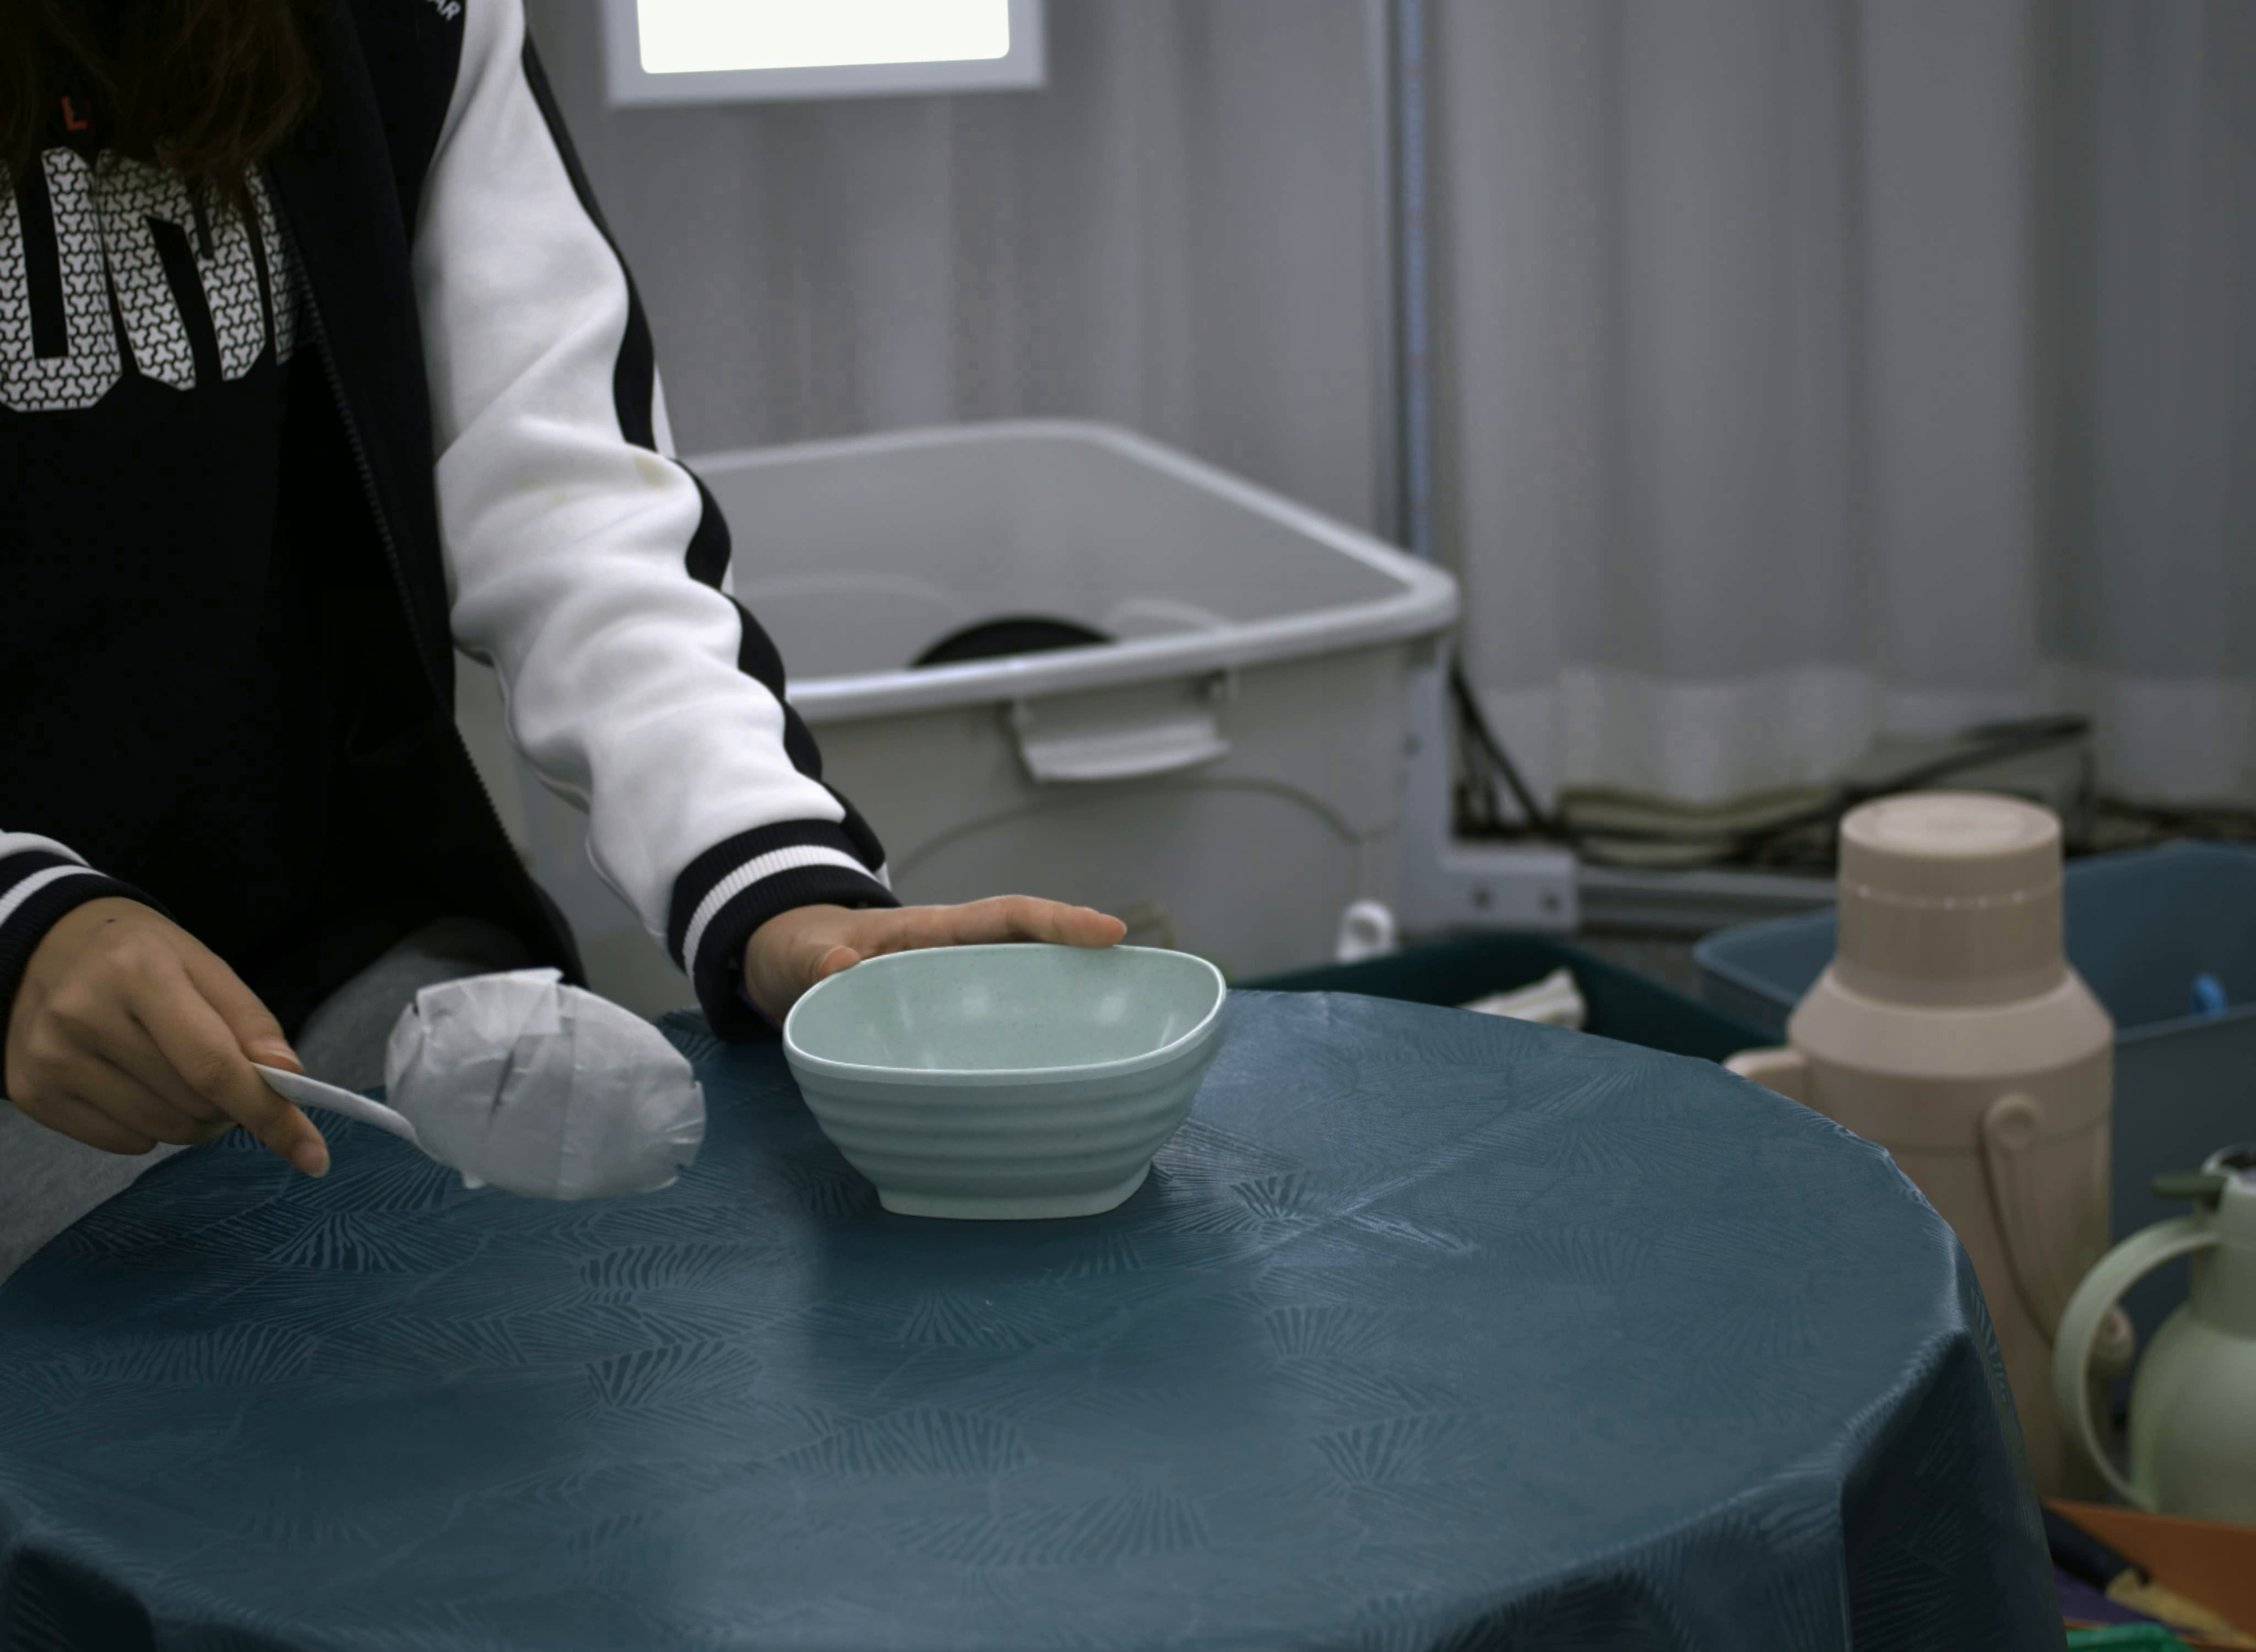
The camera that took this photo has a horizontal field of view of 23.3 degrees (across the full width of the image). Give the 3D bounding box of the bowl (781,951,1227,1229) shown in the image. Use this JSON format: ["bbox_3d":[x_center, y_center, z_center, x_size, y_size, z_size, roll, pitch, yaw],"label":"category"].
[{"bbox_3d":[-0.038,0.086,1.727,0.151,0.058,0.152,-3,14,0],"label":"bowl"}]

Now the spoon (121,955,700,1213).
[{"bbox_3d":[-0.221,0.068,1.641,0.059,0.100,0.279,-45,27,-22],"label":"spoon"}]
